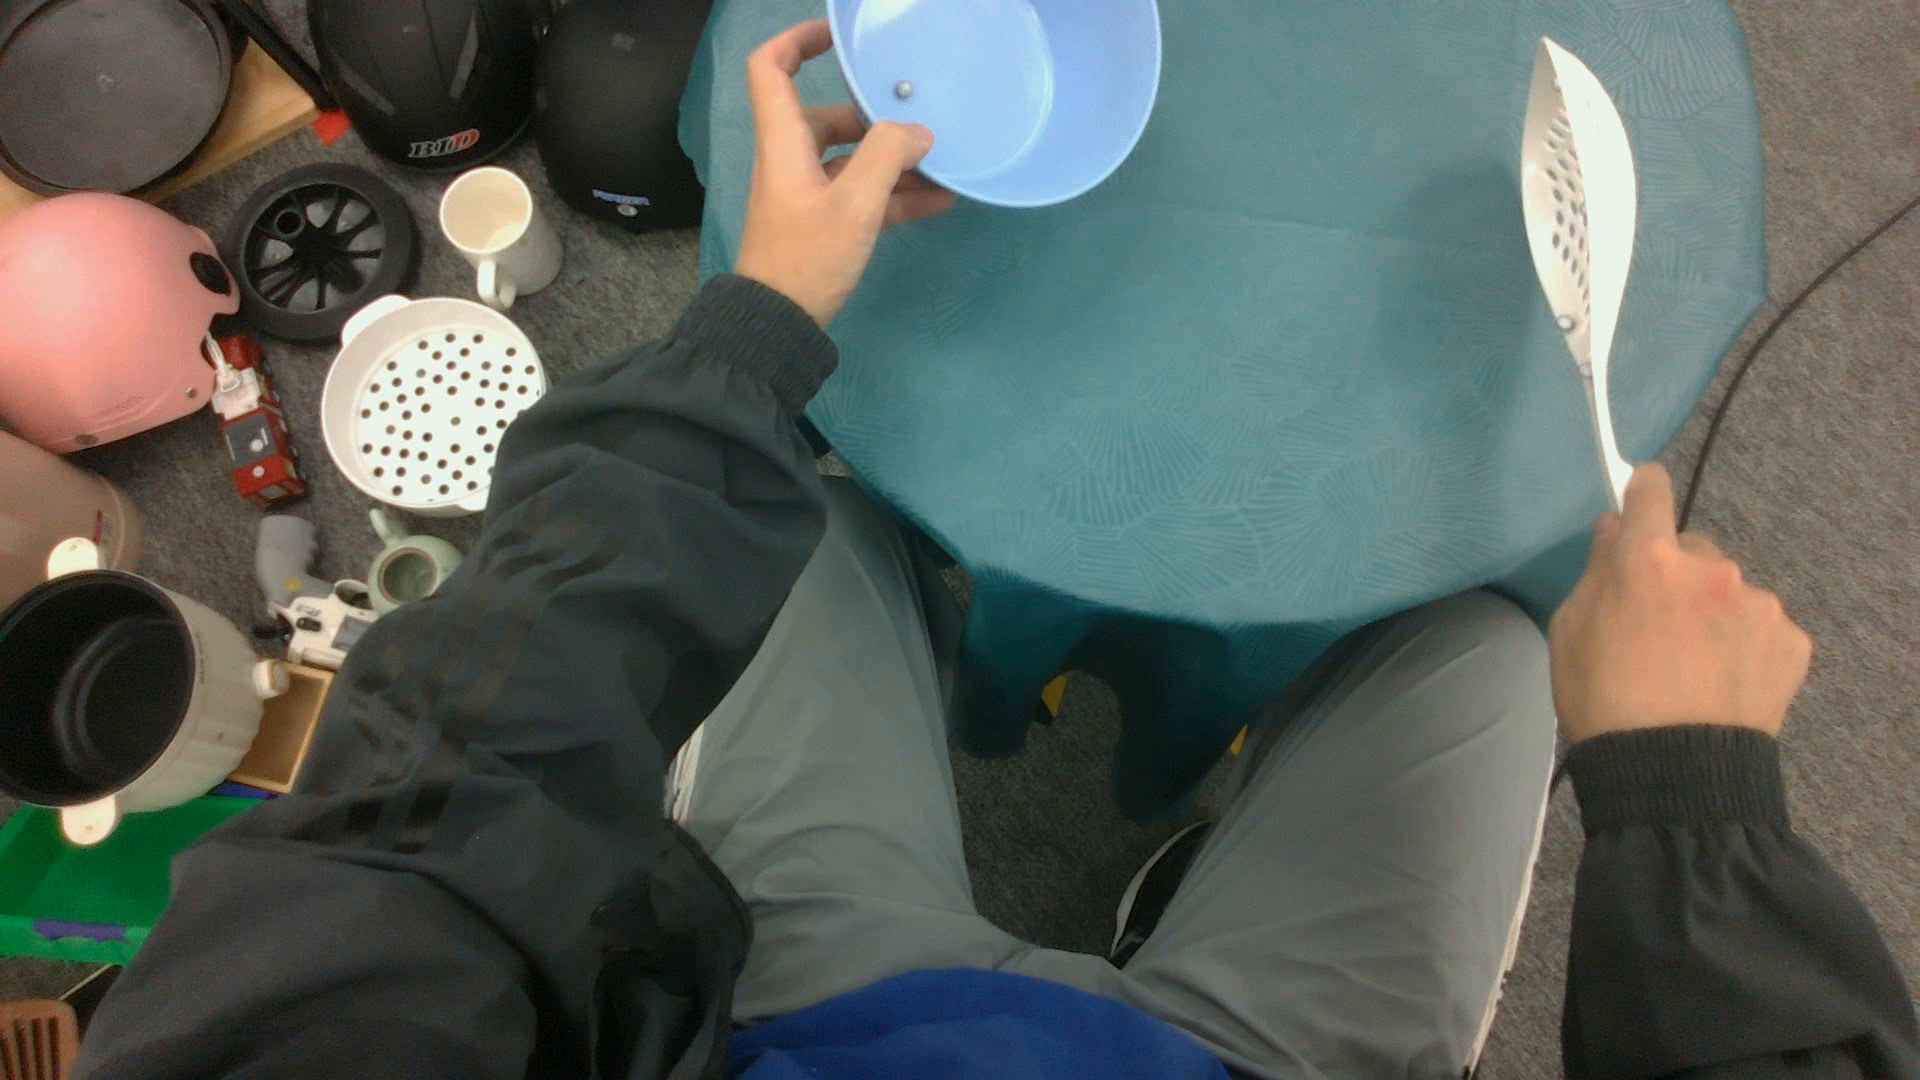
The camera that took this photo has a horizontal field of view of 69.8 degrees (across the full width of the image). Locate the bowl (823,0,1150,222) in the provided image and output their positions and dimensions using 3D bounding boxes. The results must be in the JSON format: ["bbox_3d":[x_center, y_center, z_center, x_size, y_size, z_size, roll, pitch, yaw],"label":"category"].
[{"bbox_3d":[0.004,-0.239,0.695,0.176,0.070,0.176,2,85,-25],"label":"bowl"}]

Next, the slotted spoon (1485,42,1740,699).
[{"bbox_3d":[0.311,-0.088,0.669,0.050,0.136,0.349,-5,66,12],"label":"slotted spoon"}]
